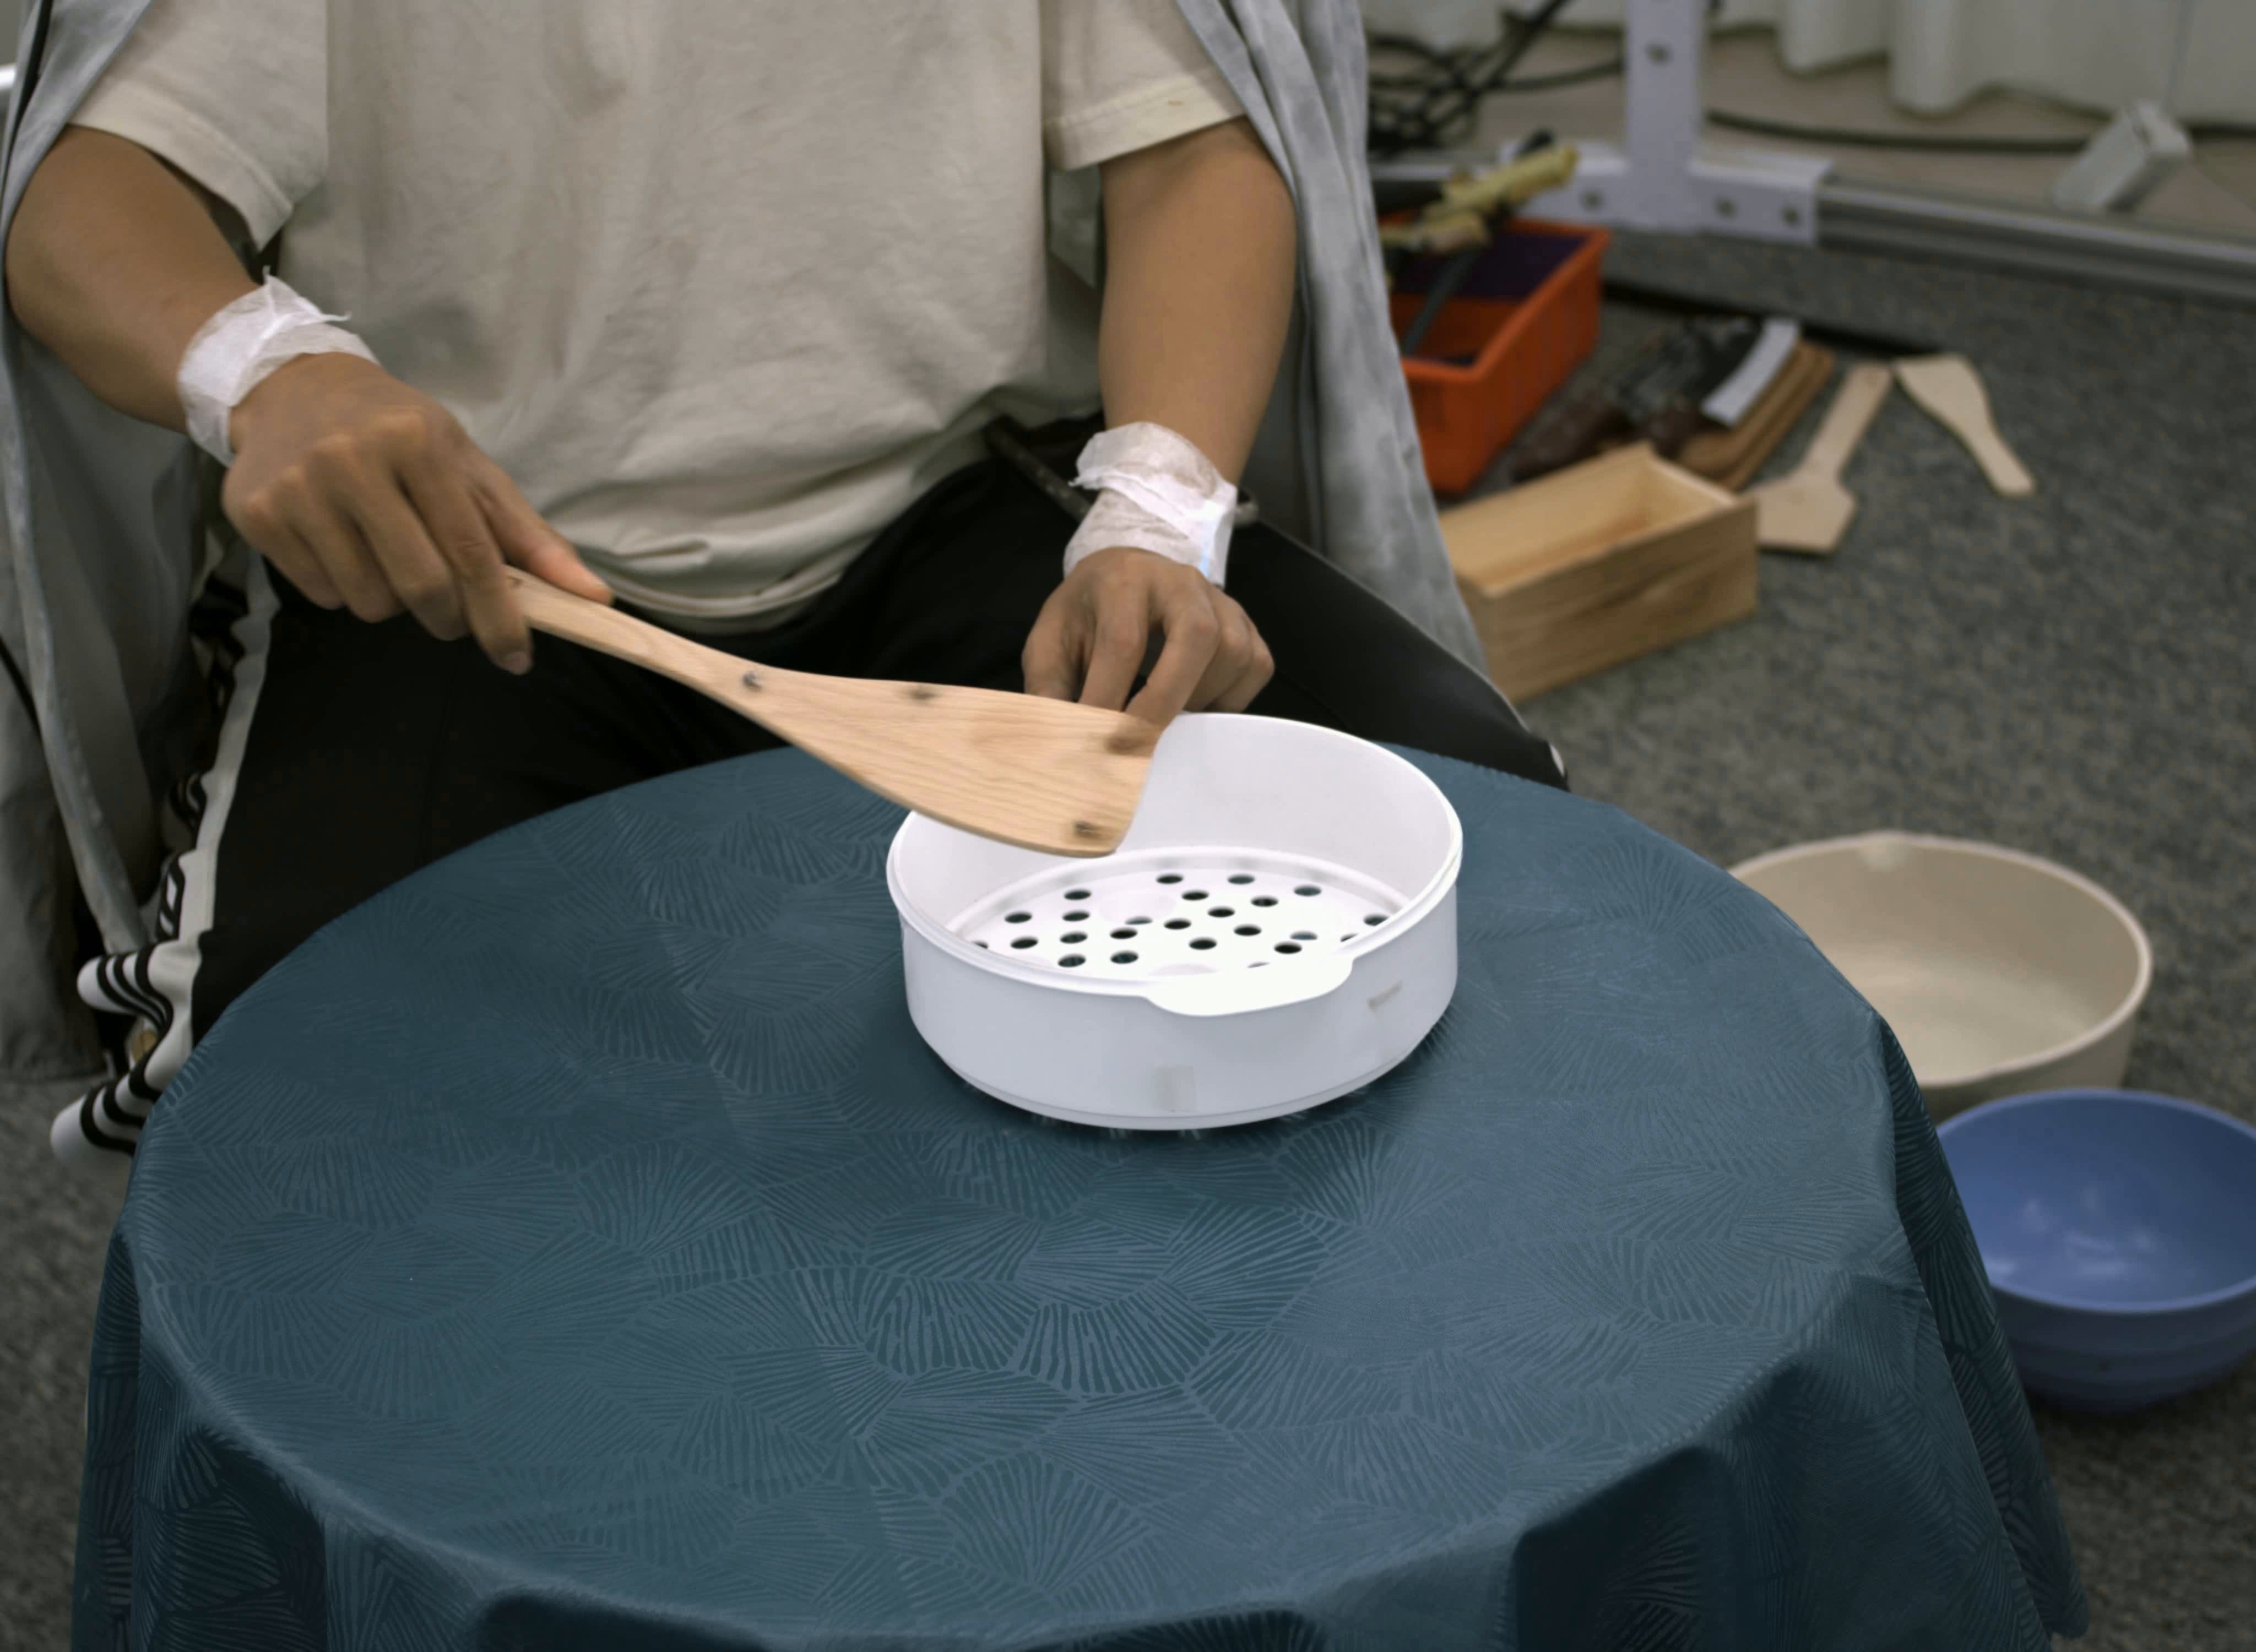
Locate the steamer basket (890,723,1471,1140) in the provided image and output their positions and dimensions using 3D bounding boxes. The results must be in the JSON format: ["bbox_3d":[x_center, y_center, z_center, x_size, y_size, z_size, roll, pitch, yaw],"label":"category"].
[{"bbox_3d":[0.019,0.038,1.951,0.202,0.068,0.233,-8,26,-12],"label":"steamer basket"}]

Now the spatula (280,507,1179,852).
[{"bbox_3d":[-0.135,-0.057,1.895,0.326,0.016,0.081,18,38,10],"label":"spatula"}]
